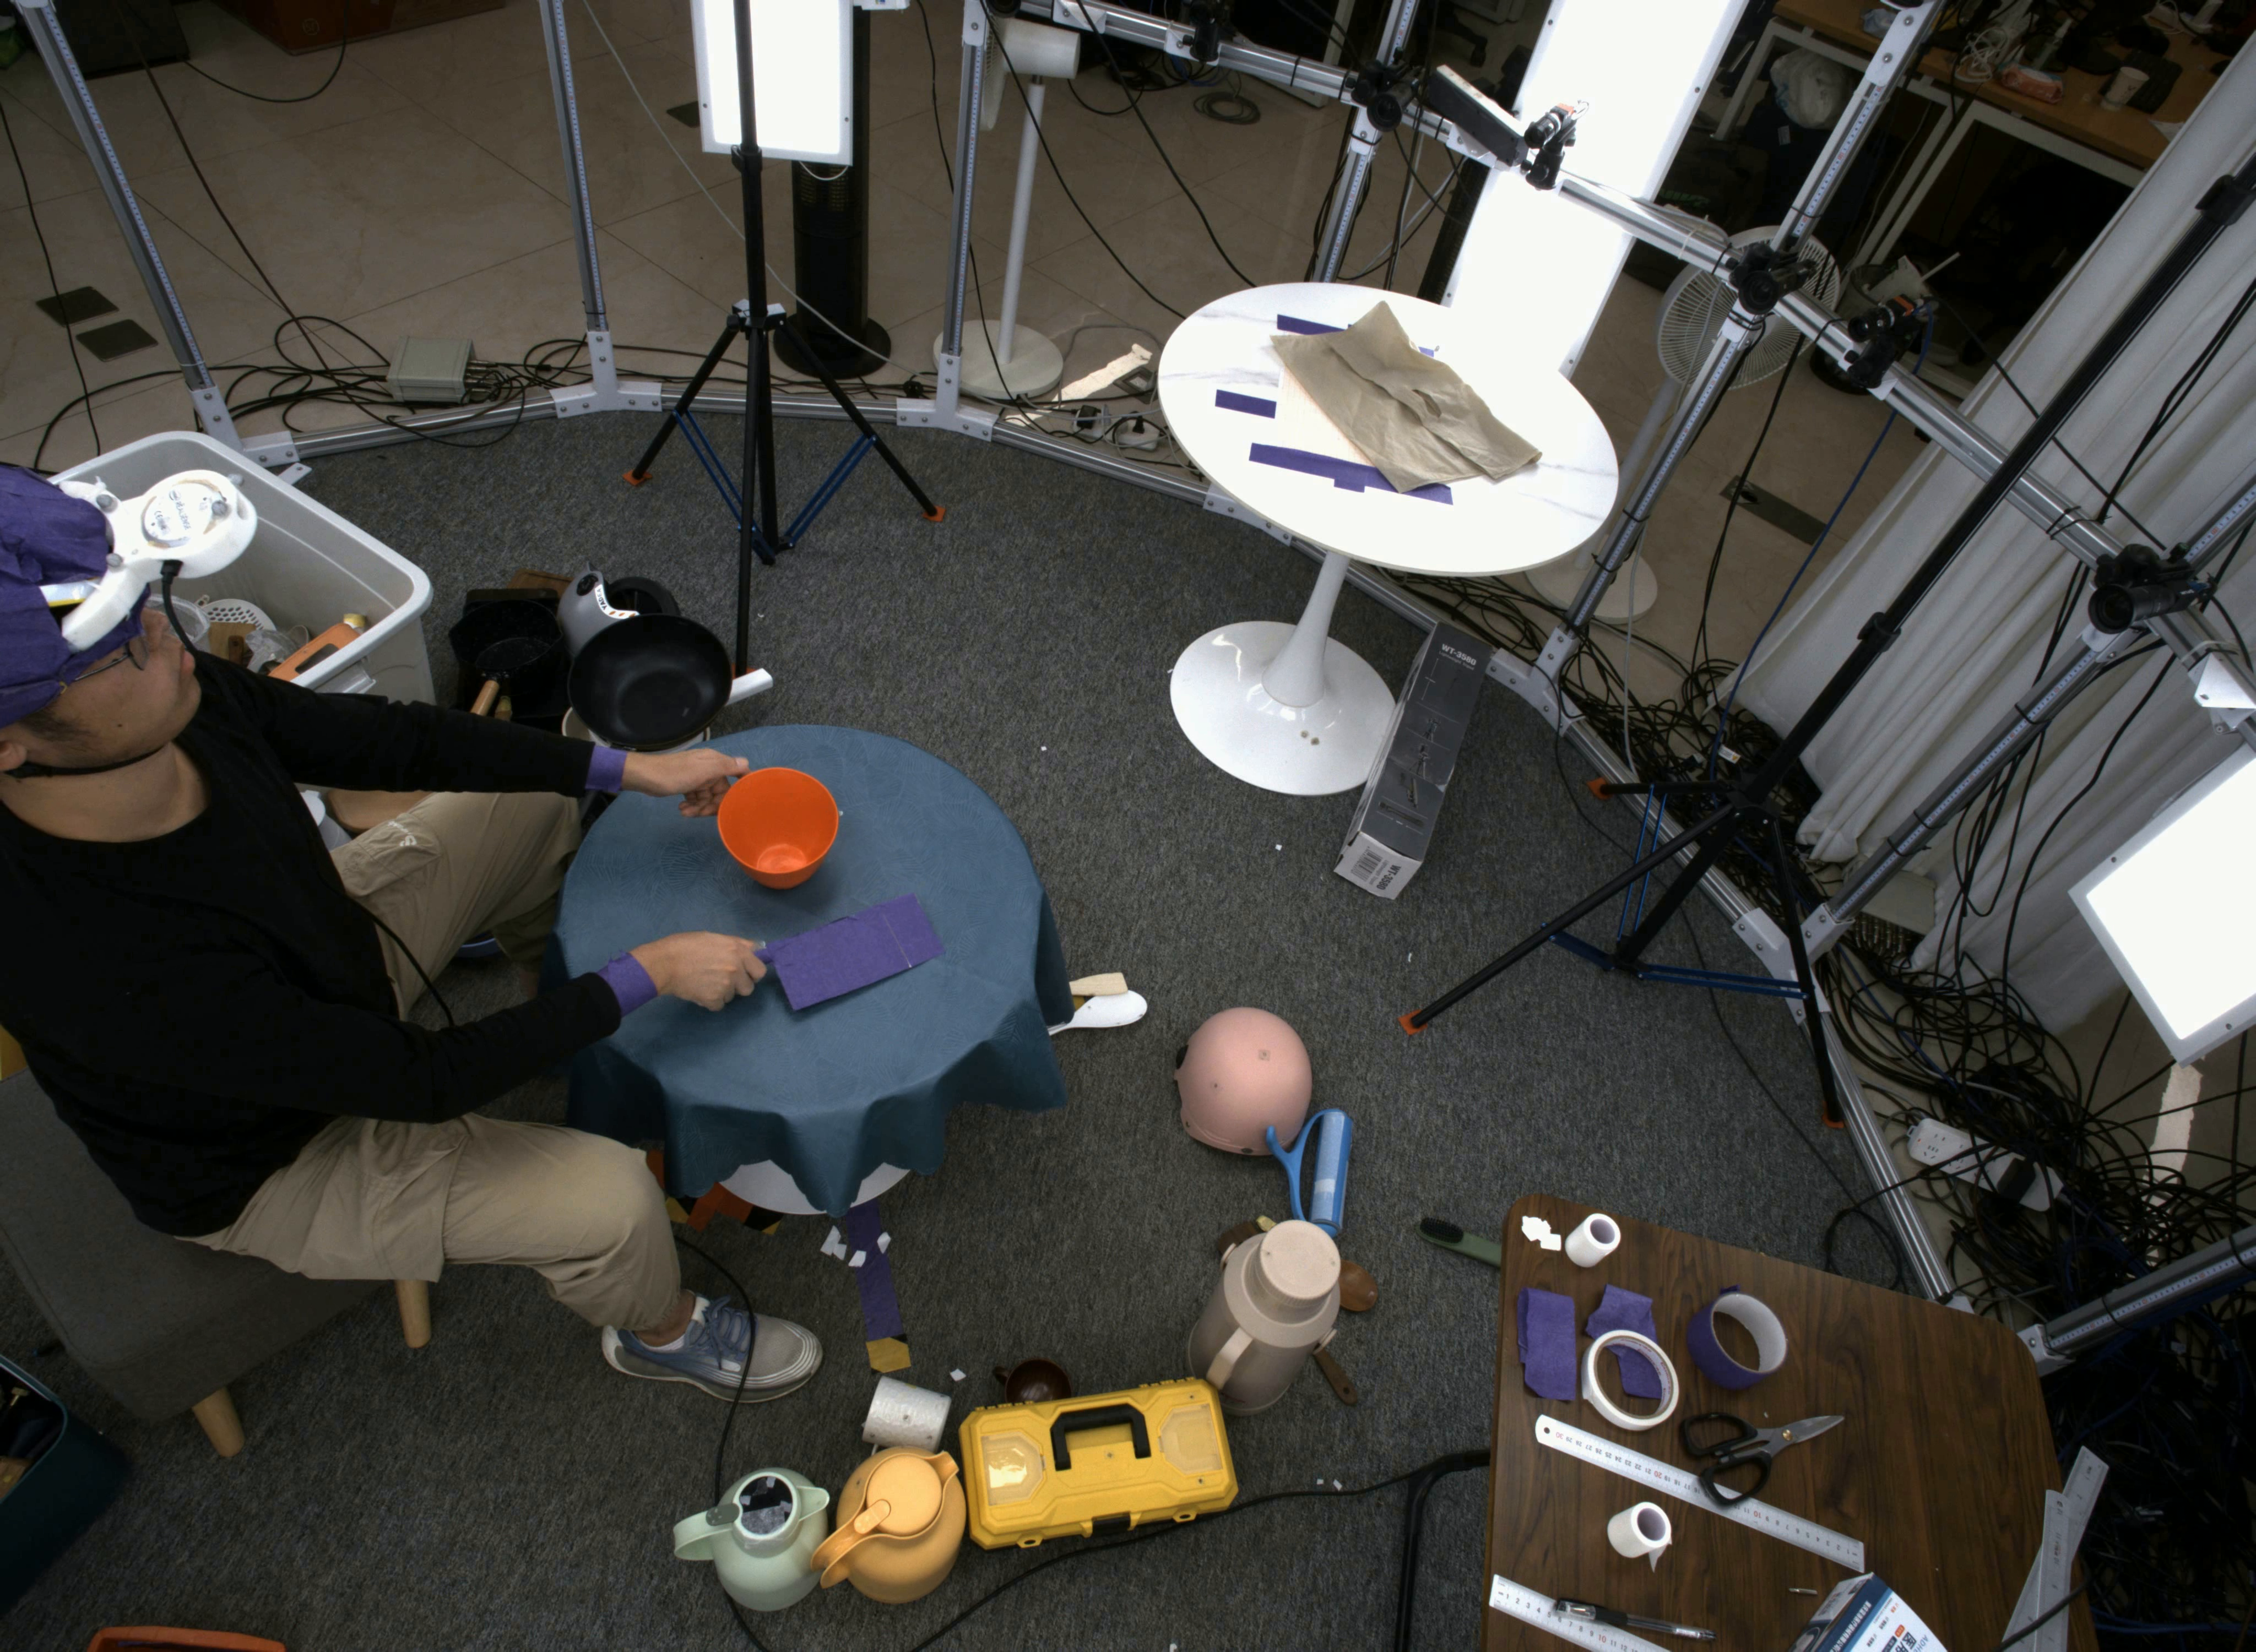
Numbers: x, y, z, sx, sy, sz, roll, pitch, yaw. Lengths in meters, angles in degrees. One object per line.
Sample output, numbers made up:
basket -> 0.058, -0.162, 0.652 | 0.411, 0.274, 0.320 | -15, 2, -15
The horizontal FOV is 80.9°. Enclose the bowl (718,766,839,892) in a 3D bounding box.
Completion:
bowl -> -0.441, 0.015, 1.641 | 0.148, 0.106, 0.145 | 8, 52, -9

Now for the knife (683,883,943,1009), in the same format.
knife -> -0.374, 0.162, 1.576 | 0.317, 0.032, 0.103 | -22, 75, -31
